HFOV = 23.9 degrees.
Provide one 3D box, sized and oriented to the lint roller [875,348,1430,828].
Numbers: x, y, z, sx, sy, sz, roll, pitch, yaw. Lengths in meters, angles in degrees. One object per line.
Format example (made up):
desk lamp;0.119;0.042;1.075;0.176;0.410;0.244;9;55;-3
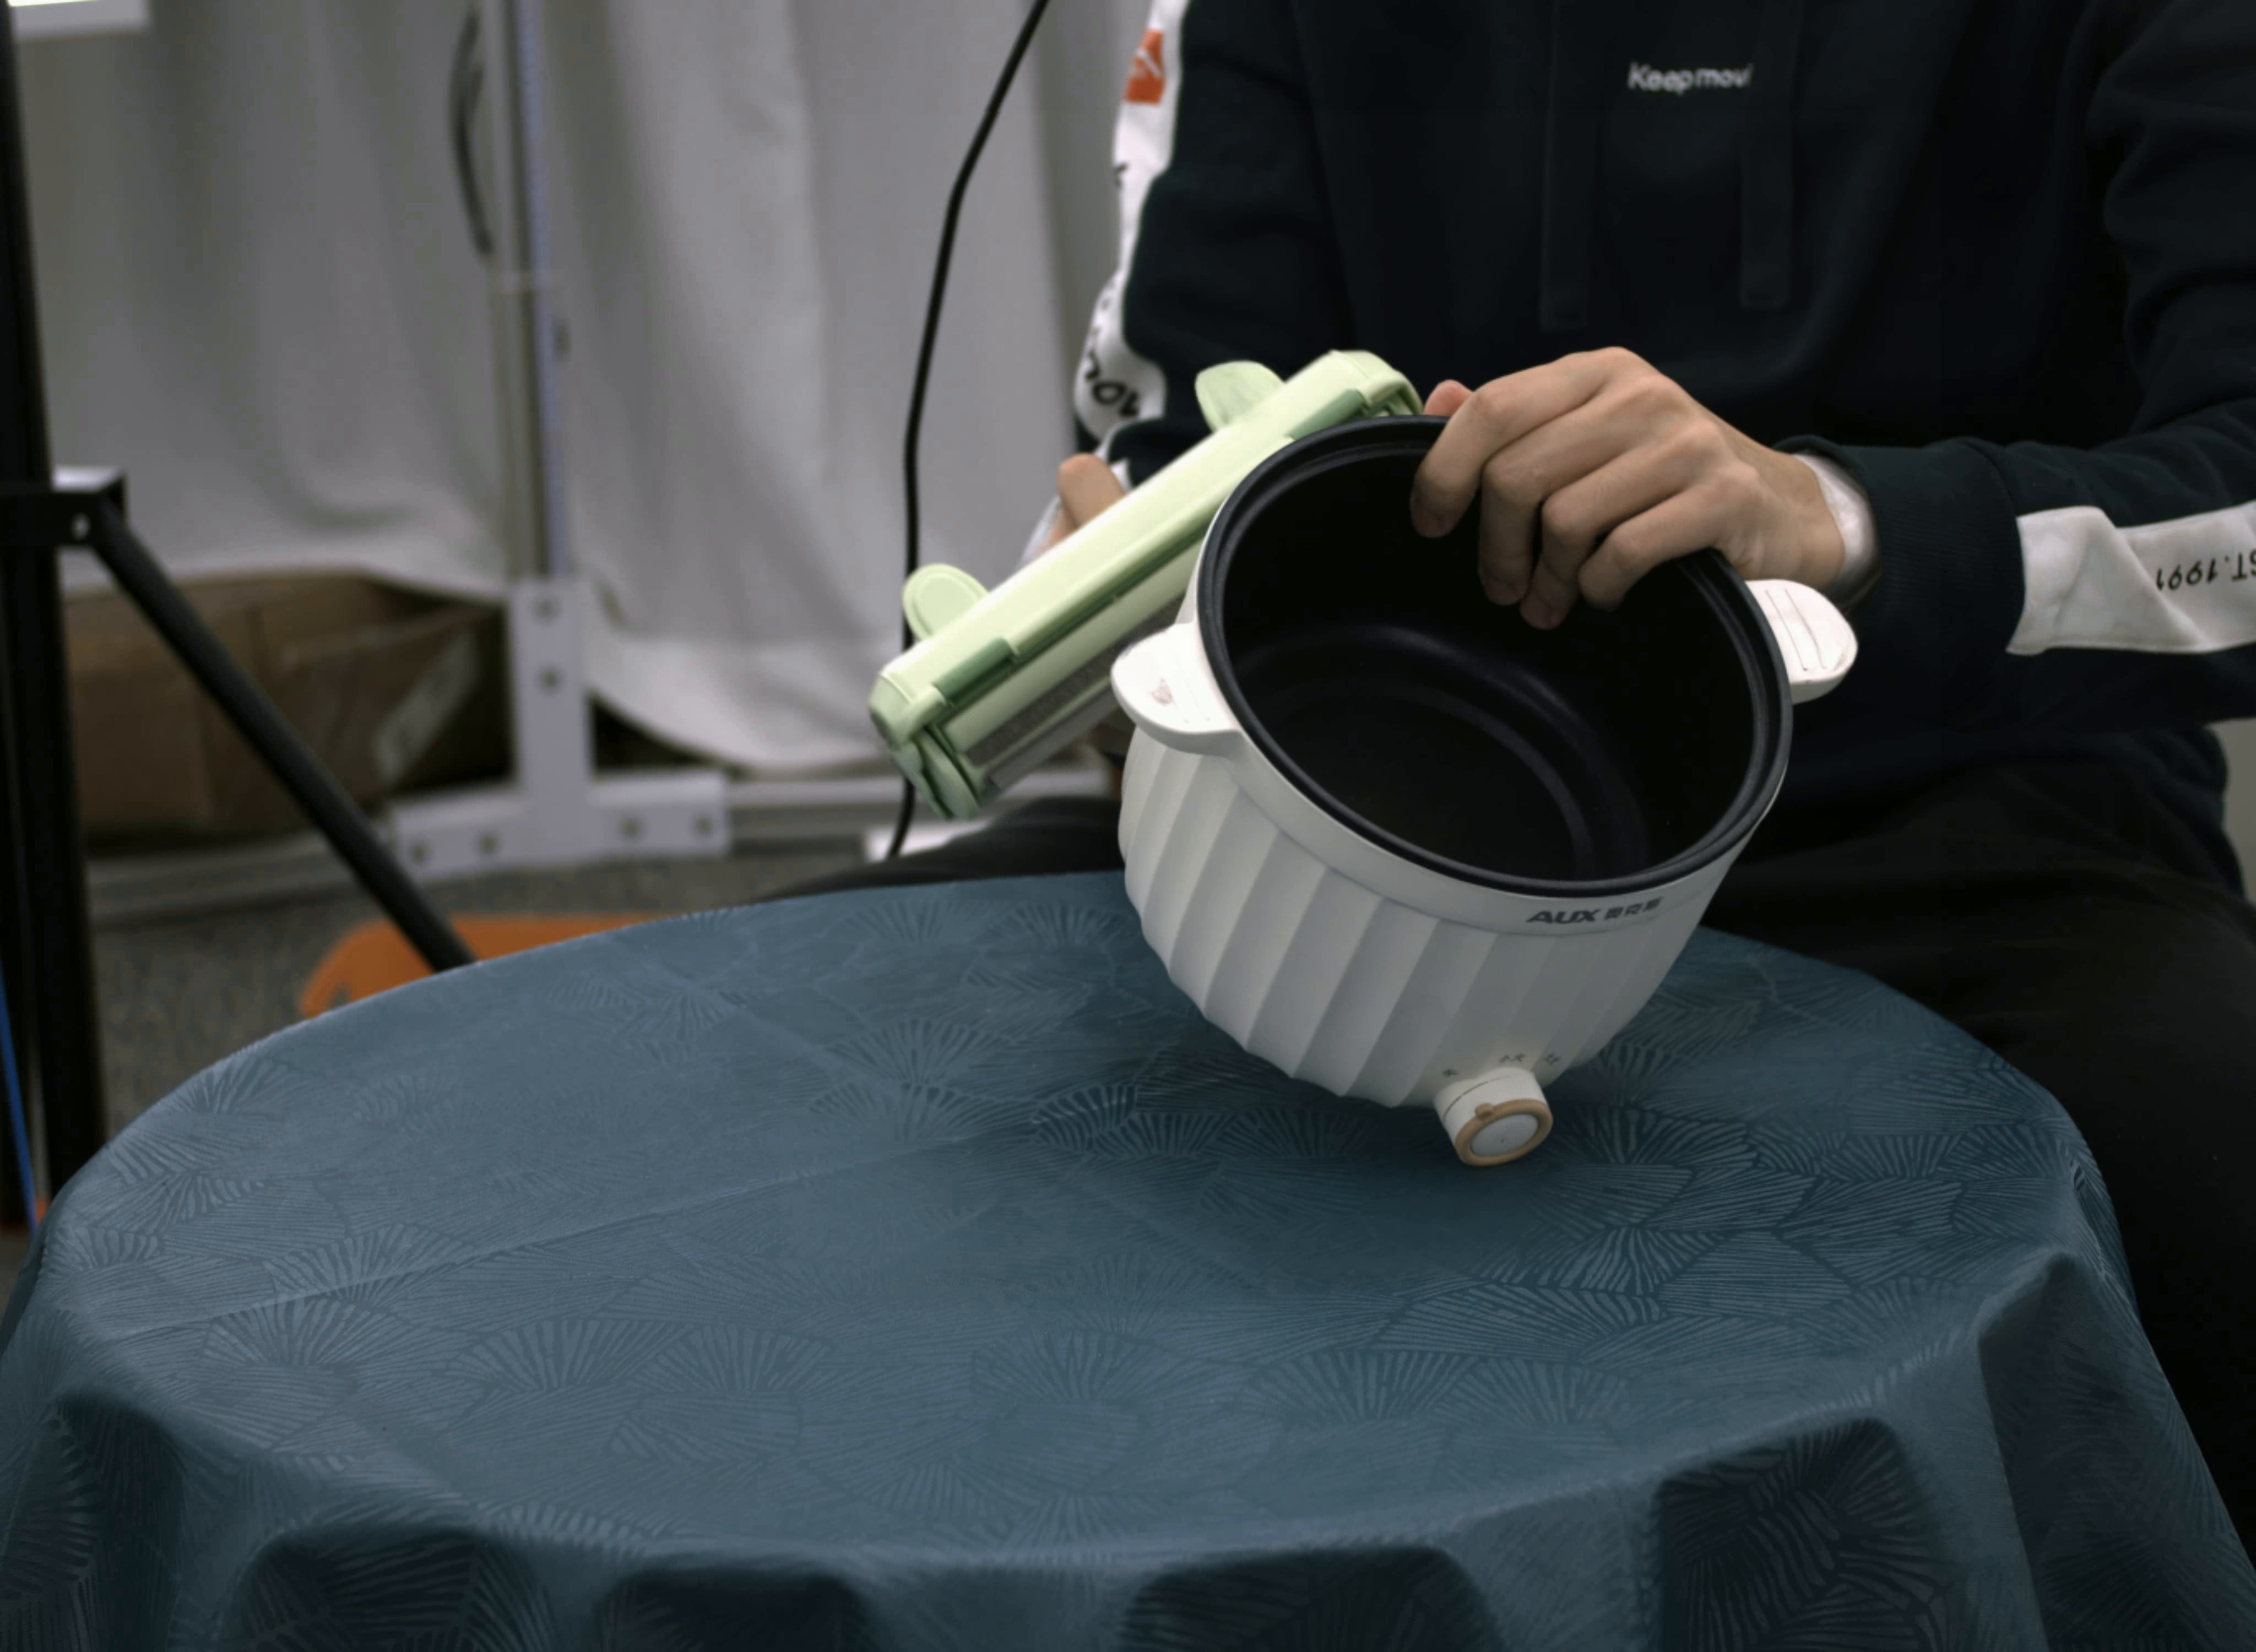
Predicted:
lint roller;-0.002;-0.077;1.723;0.197;0.082;0.184;-37;2;-8

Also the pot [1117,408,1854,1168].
pot;0.093;-0.007;1.579;0.235;0.143;0.194;-6;50;-22
